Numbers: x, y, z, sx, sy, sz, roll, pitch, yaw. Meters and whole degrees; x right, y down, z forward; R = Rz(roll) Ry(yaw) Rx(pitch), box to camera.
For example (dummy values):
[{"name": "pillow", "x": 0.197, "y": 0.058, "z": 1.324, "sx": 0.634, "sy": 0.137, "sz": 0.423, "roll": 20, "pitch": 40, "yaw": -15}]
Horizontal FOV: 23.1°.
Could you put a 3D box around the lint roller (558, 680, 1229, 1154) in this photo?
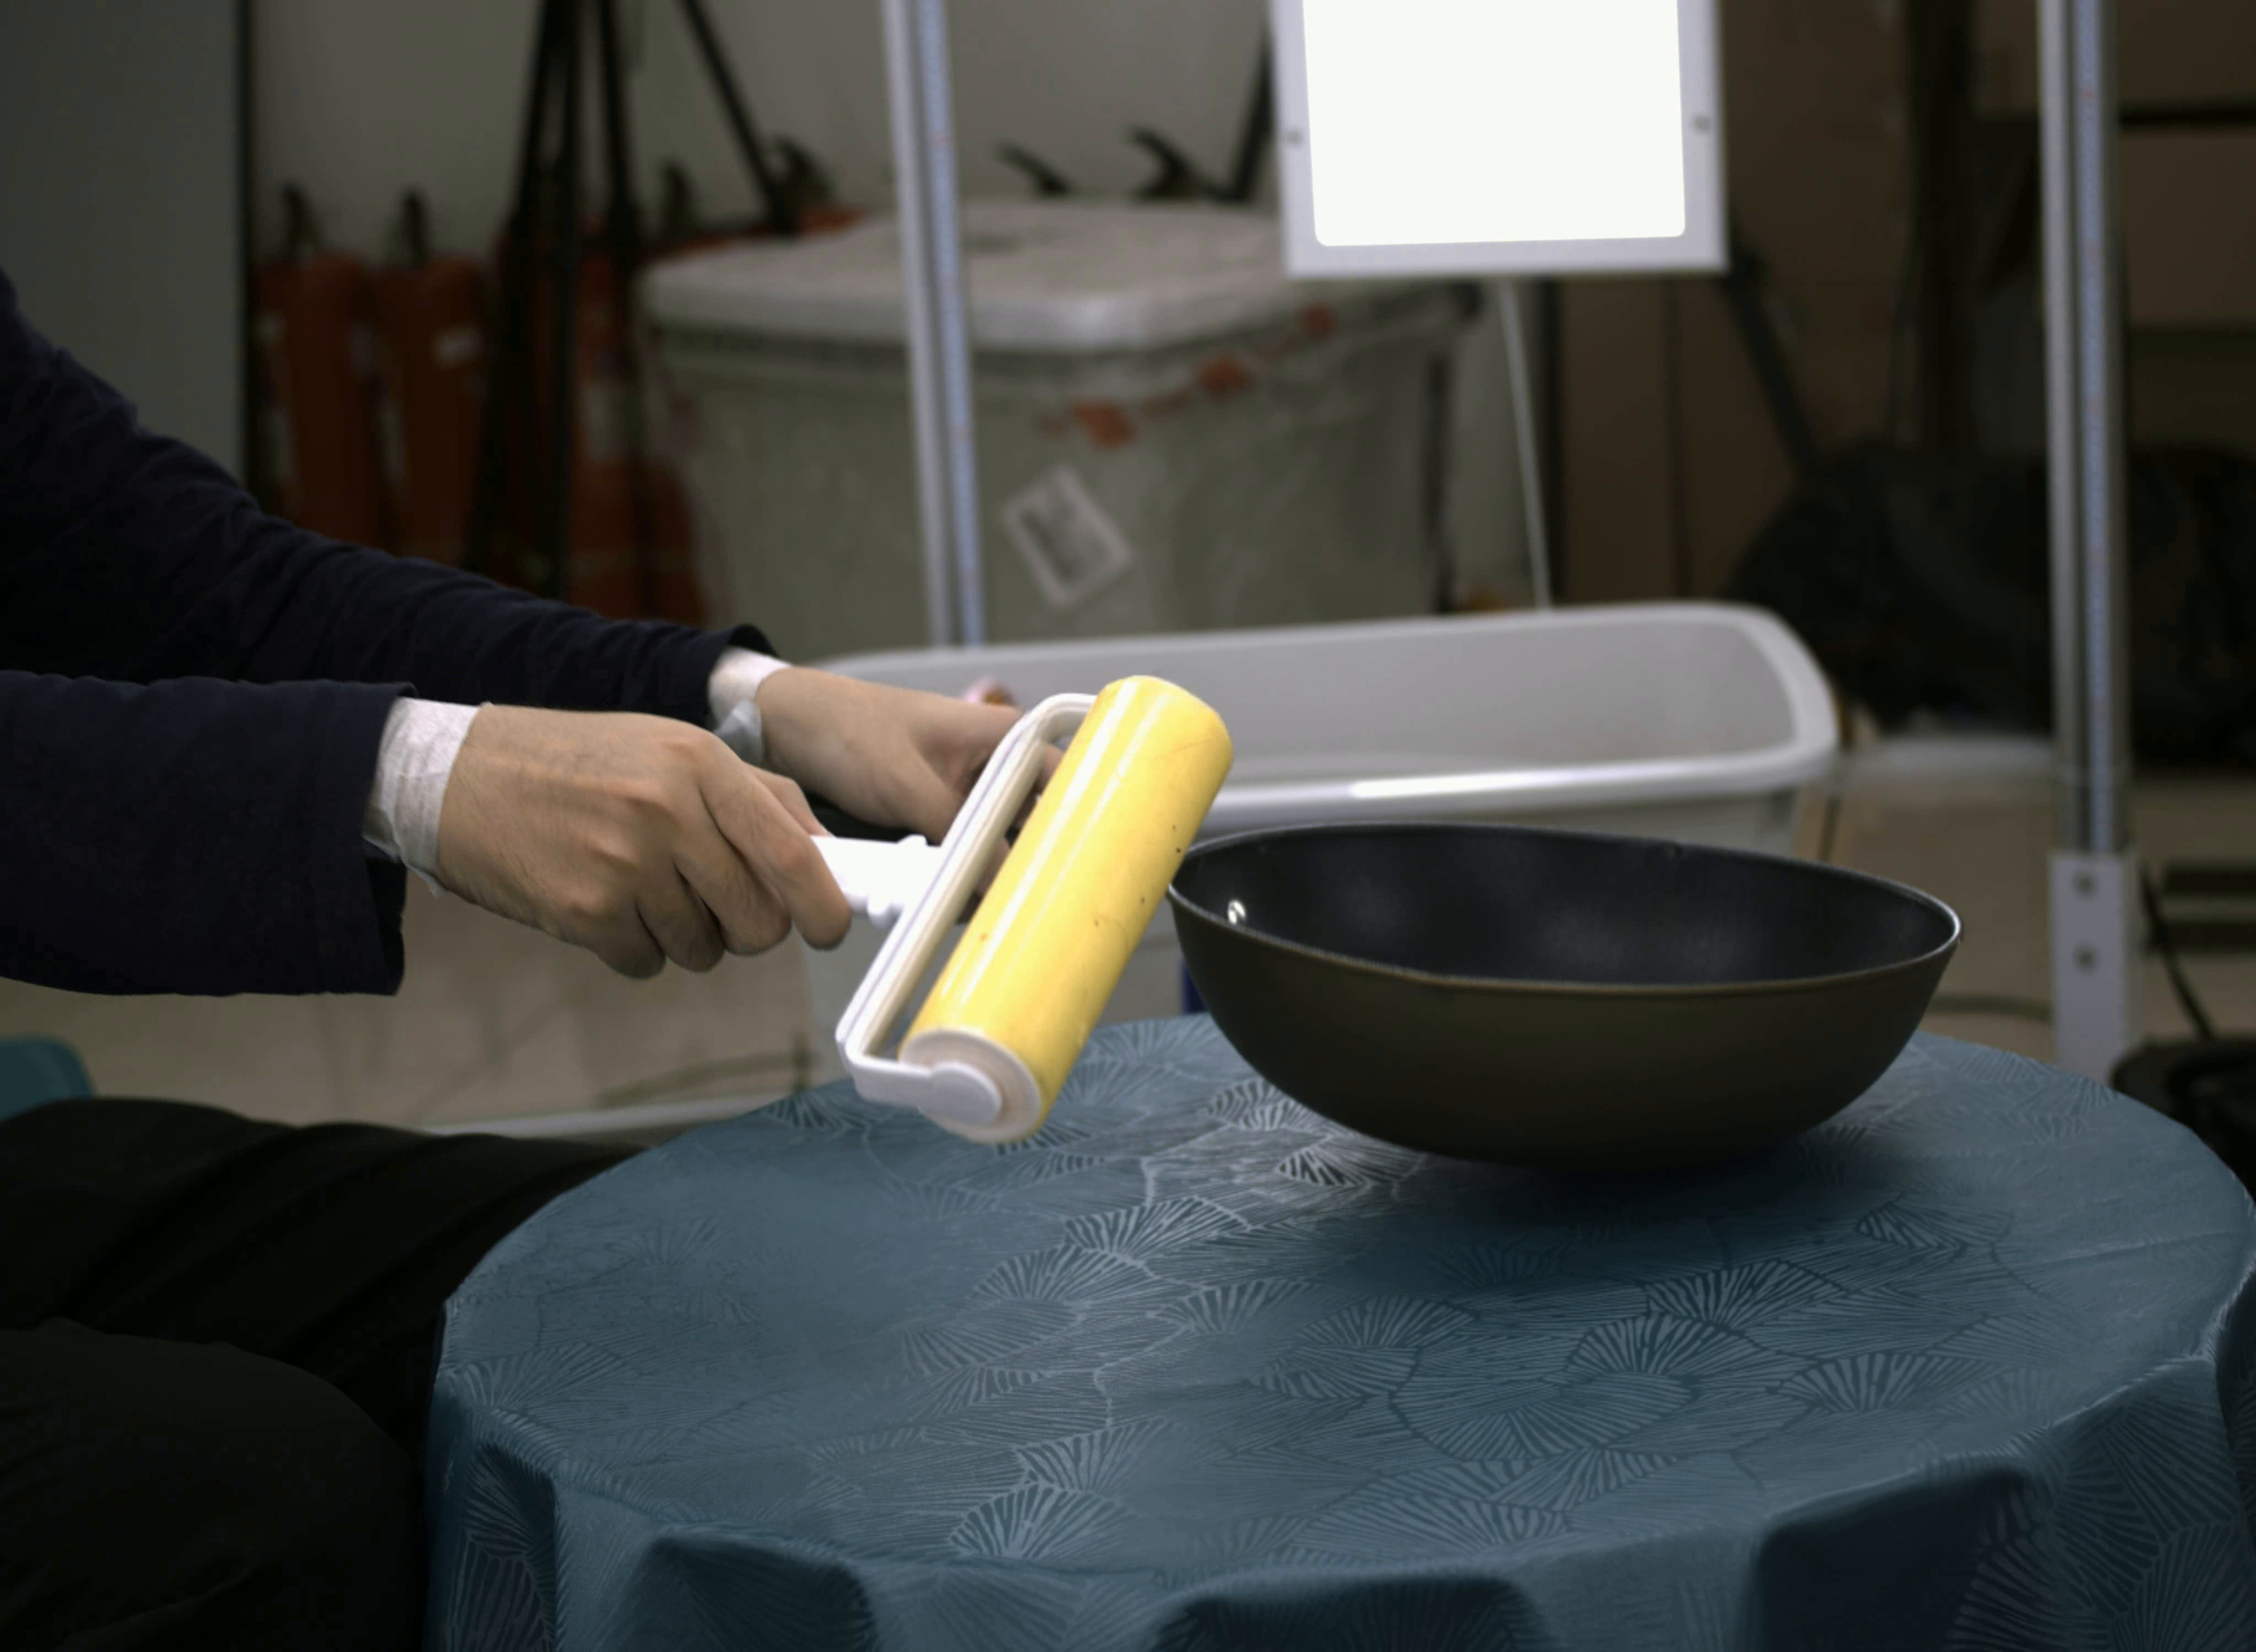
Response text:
[{"name": "lint roller", "x": -0.085, "y": 0.013, "z": 1.657, "sx": 0.194, "sy": 0.051, "sz": 0.172, "roll": 12, "pitch": 46, "yaw": 17}]

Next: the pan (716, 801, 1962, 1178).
[{"name": "pan", "x": 0.062, "y": 0.054, "z": 1.935, "sx": 0.470, "sy": 0.087, "sz": 0.282, "roll": 6, "pitch": 11, "yaw": 23}]
